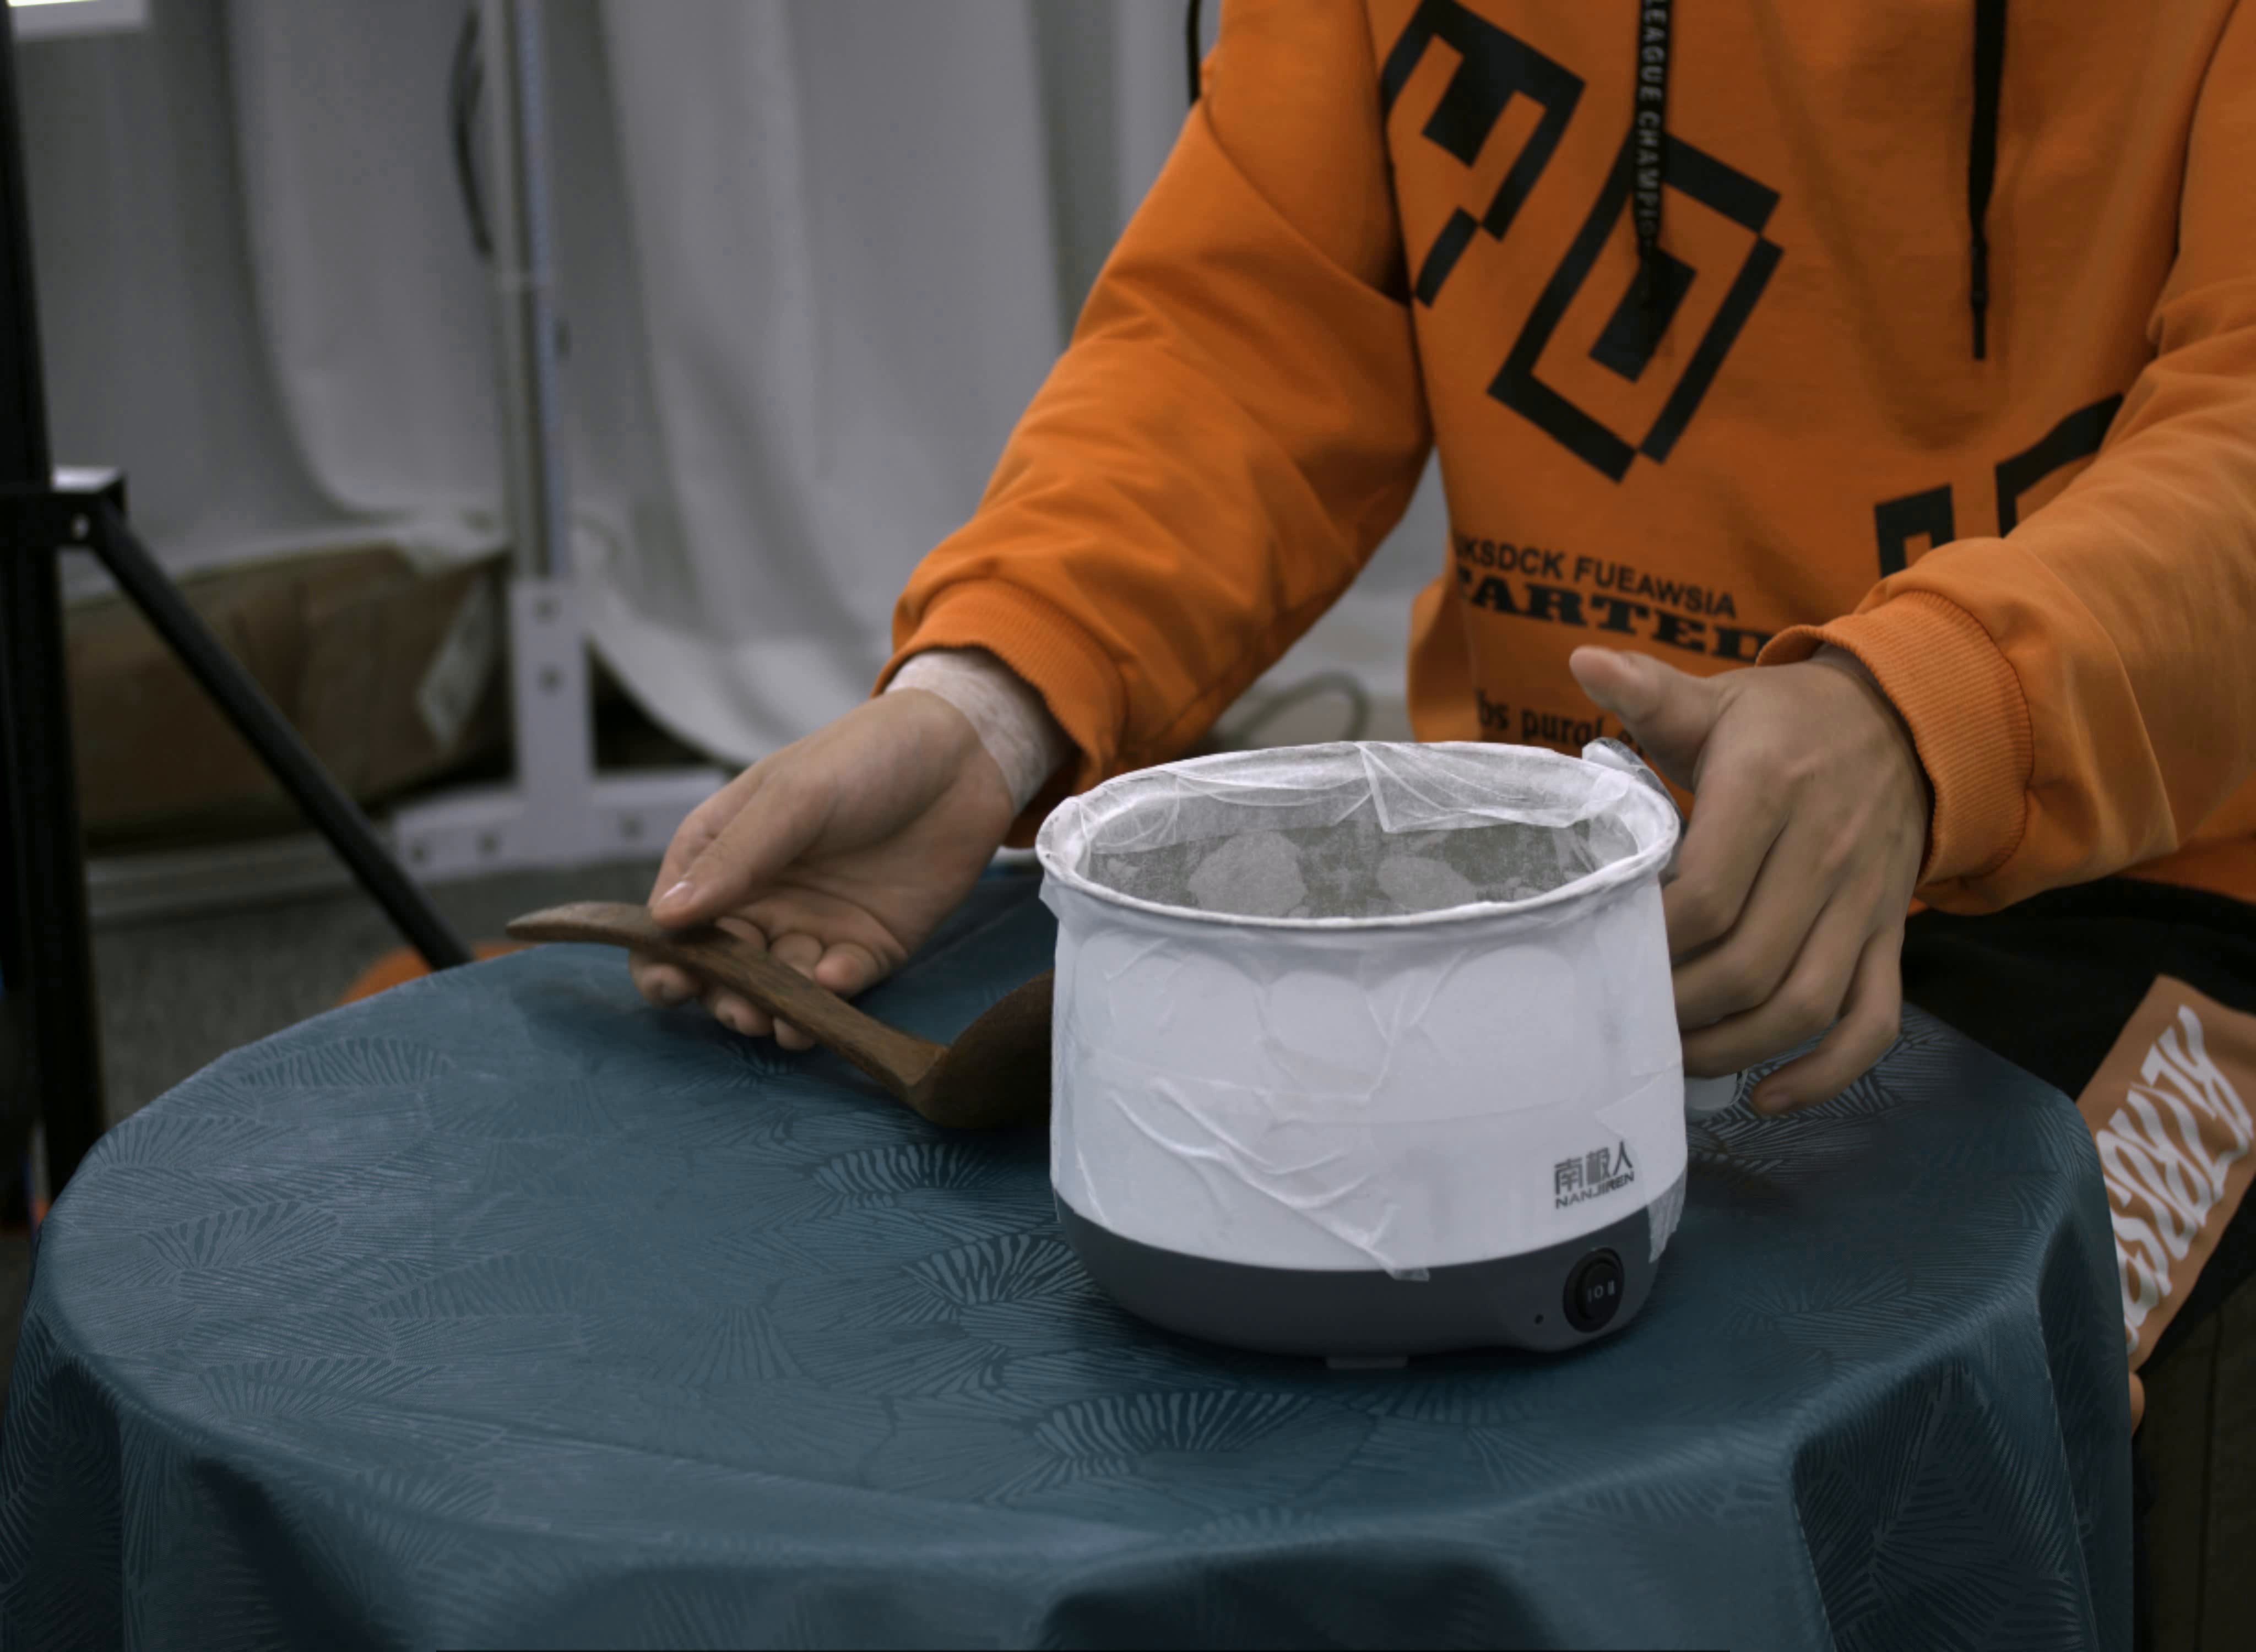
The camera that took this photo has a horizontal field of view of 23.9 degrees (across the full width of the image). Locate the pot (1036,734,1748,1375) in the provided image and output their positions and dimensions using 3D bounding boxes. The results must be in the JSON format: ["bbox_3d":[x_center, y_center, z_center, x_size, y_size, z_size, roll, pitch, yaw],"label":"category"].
[{"bbox_3d":[0.085,0.055,1.478,0.228,0.136,0.183,-16,21,-40],"label":"pot"}]

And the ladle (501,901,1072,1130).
[{"bbox_3d":[-0.106,0.037,1.677,0.074,0.071,0.280,-14,25,-40],"label":"ladle"}]
